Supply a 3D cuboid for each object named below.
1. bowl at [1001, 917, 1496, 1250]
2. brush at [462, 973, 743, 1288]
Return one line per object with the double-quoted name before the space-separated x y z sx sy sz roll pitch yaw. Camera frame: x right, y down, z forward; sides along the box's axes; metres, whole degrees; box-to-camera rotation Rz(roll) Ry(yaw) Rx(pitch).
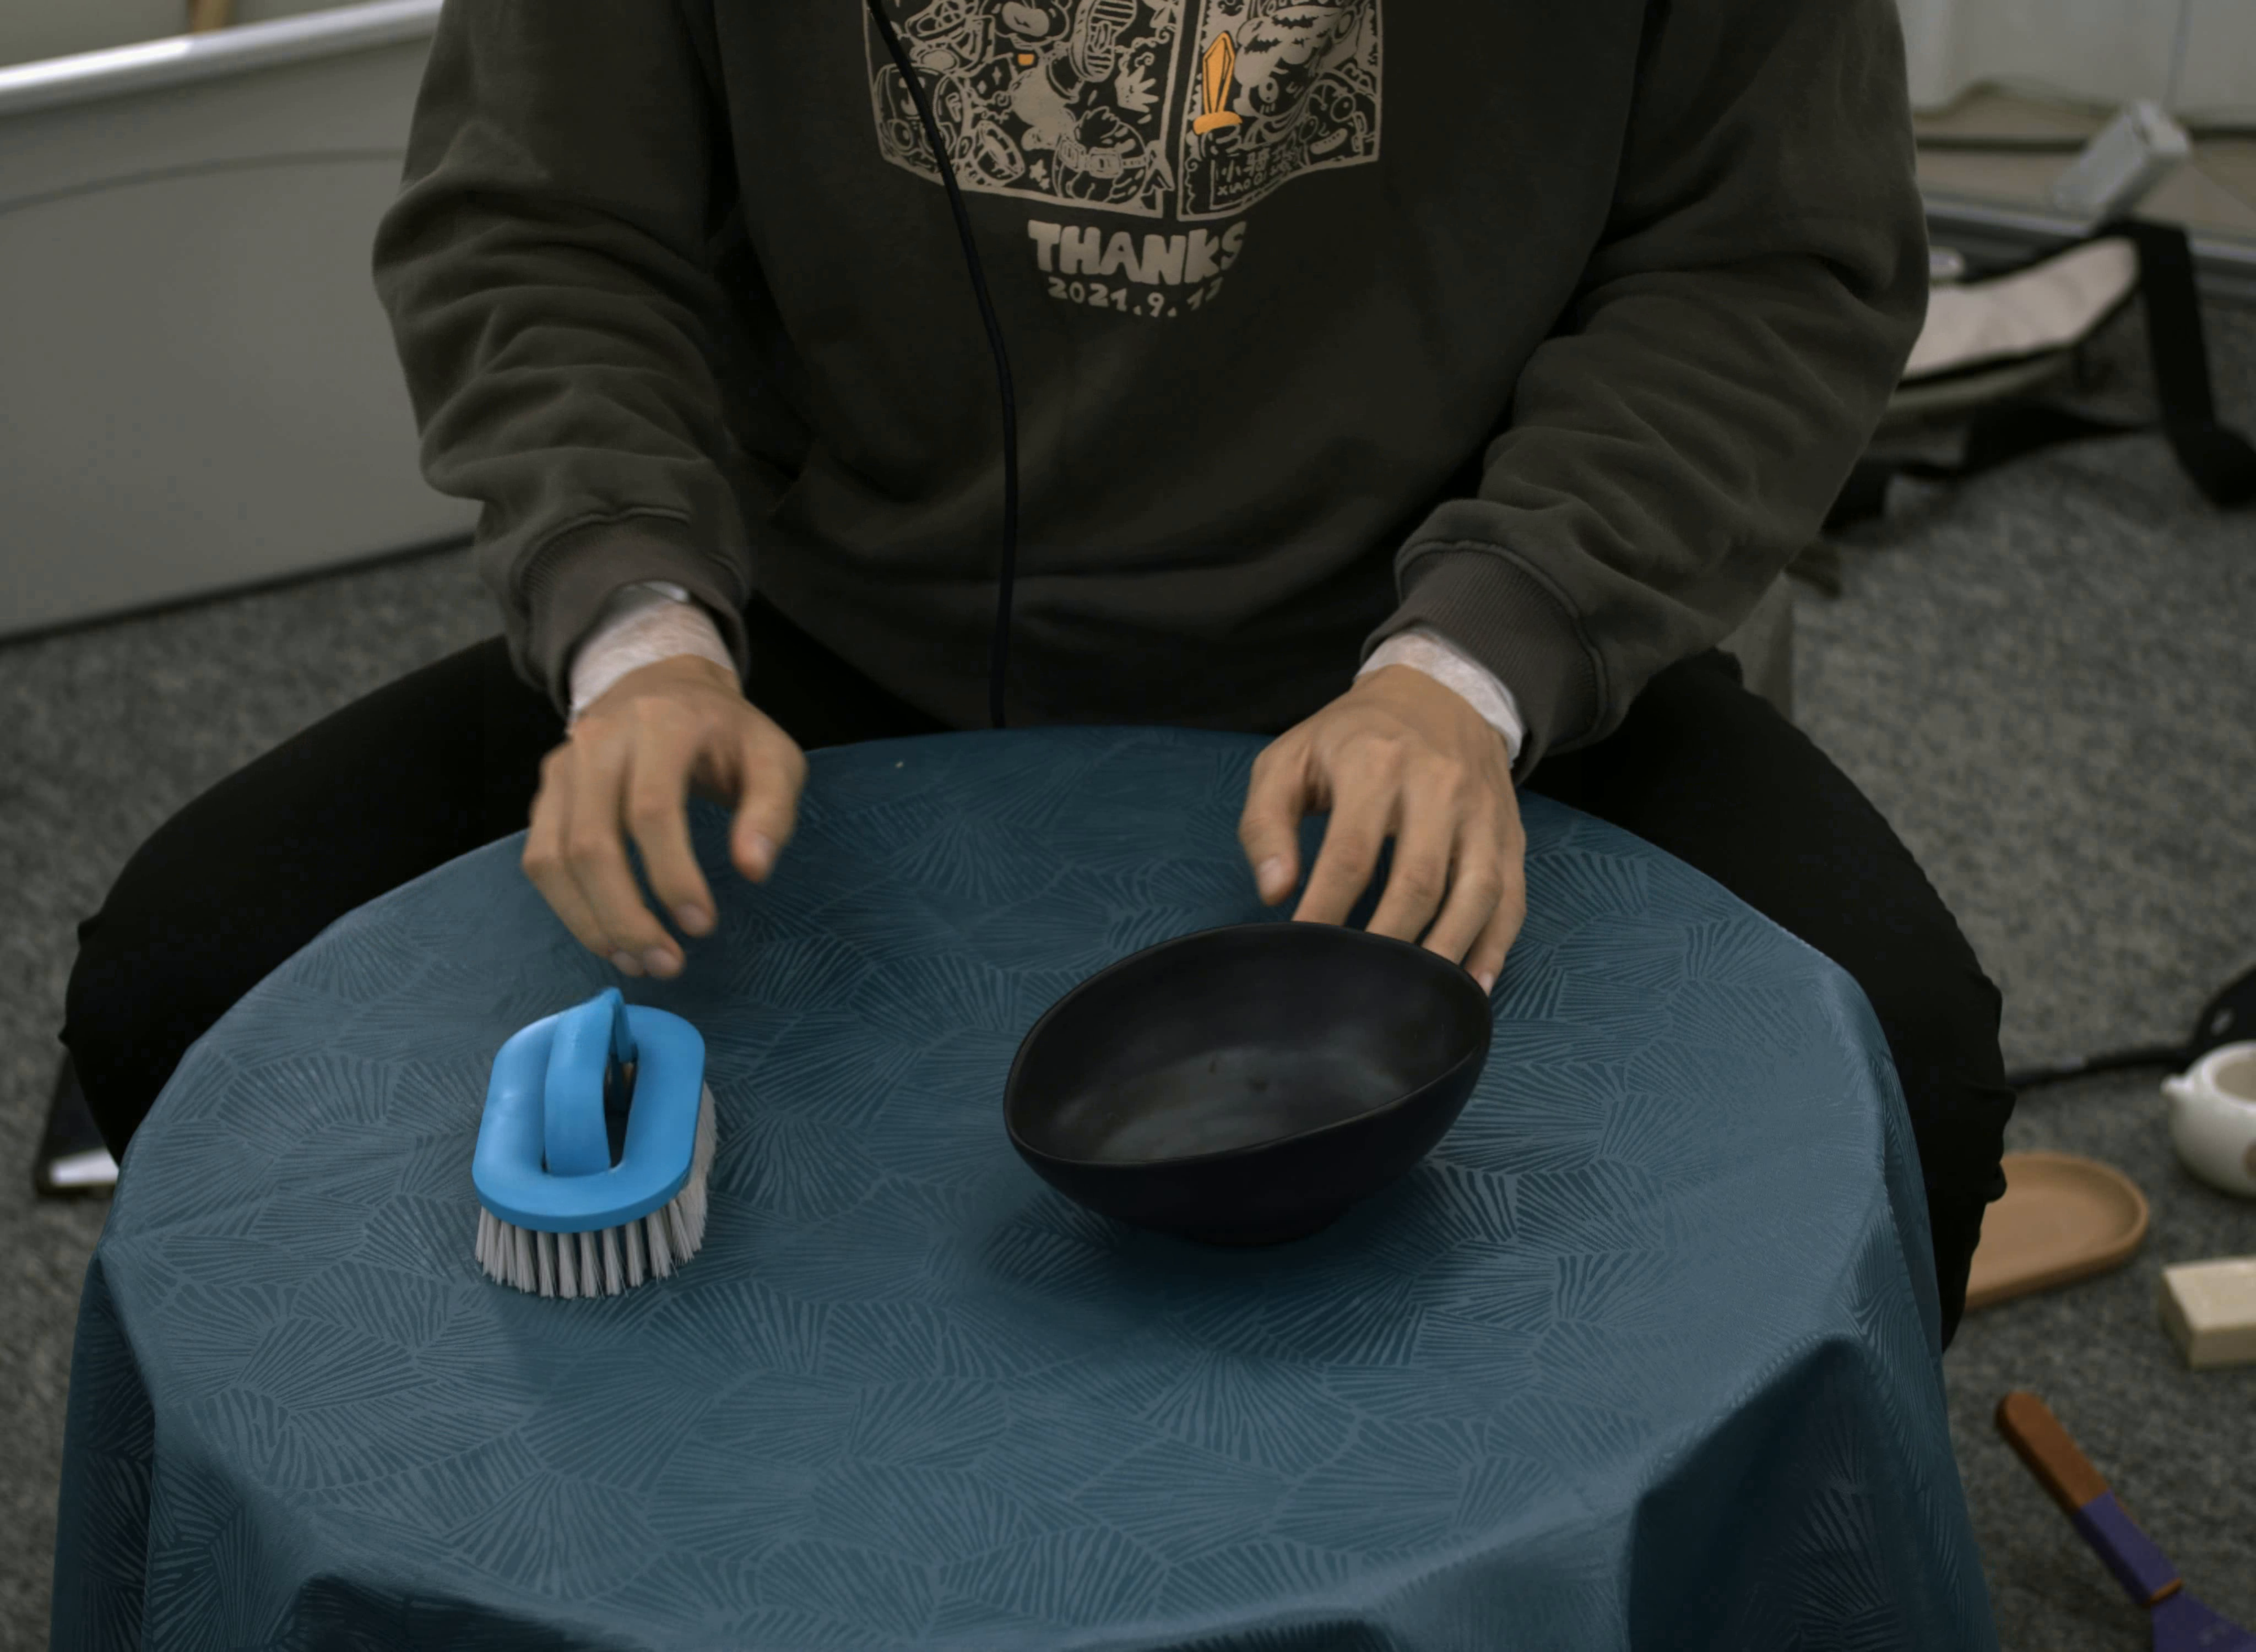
"bowl" 0.042 0.095 1.841 0.171 0.066 0.138 -19 31 -25
"brush" -0.176 0.092 1.865 0.084 0.063 0.144 -6 26 5
